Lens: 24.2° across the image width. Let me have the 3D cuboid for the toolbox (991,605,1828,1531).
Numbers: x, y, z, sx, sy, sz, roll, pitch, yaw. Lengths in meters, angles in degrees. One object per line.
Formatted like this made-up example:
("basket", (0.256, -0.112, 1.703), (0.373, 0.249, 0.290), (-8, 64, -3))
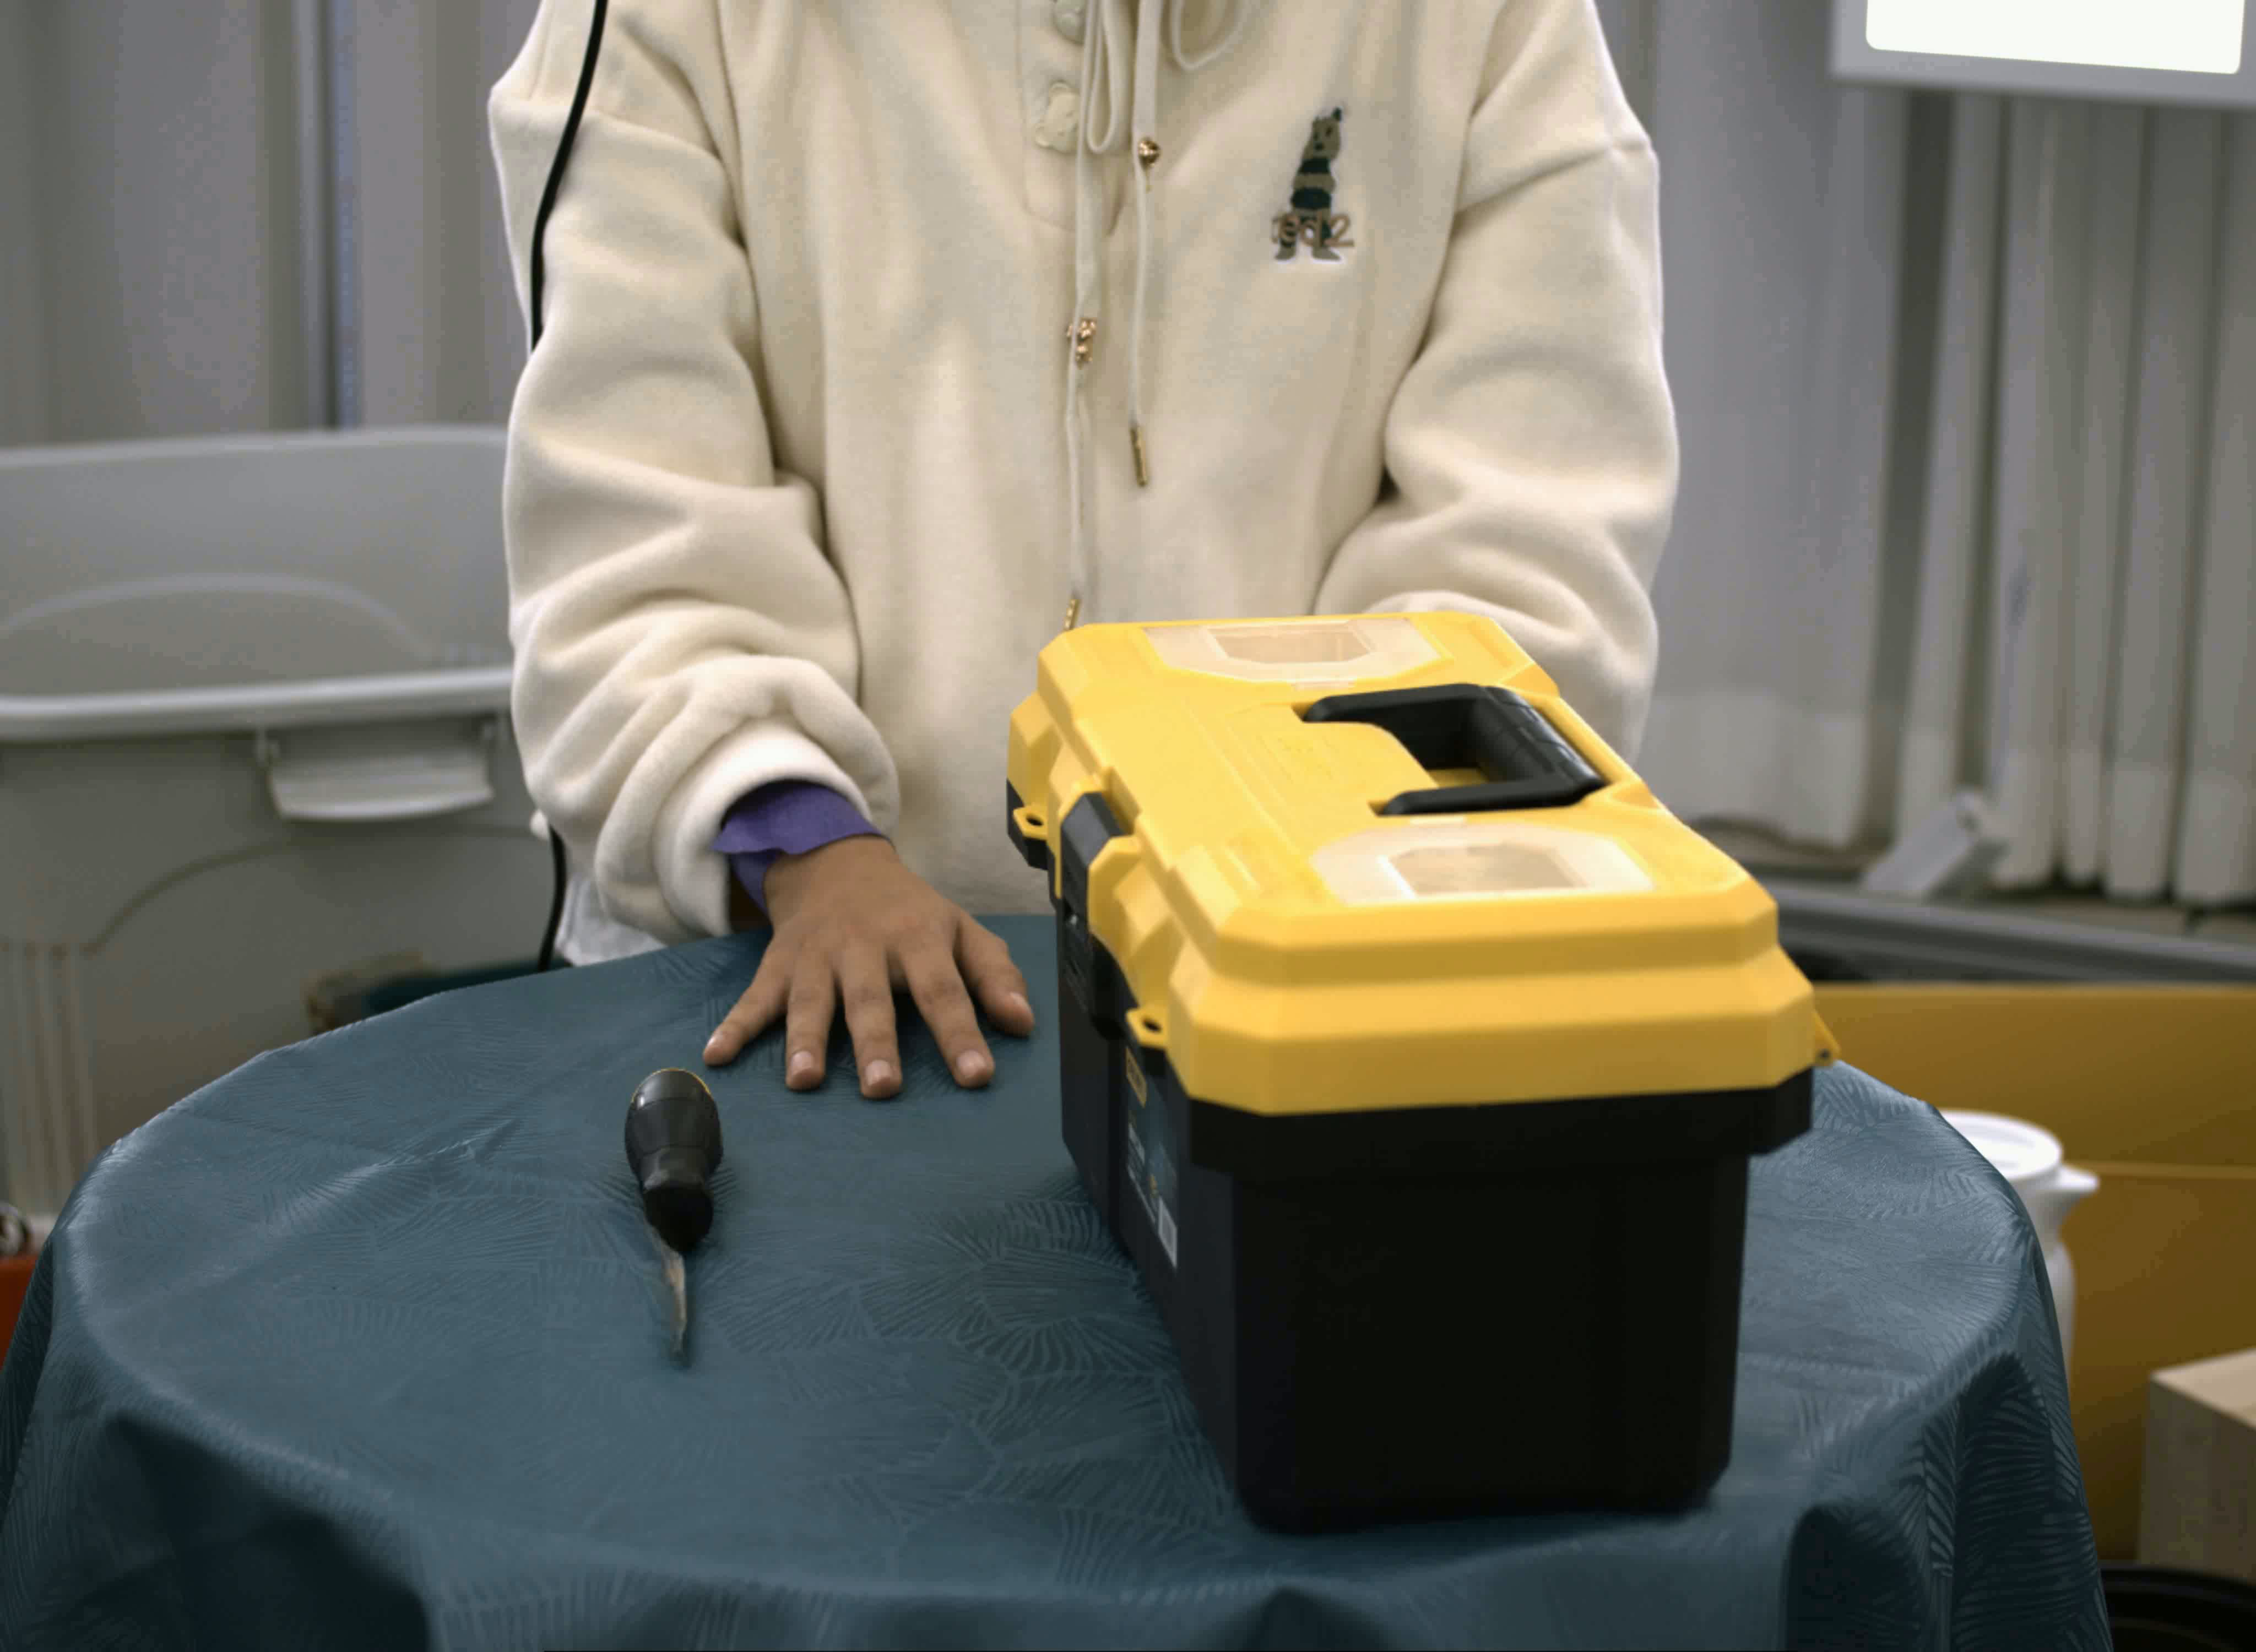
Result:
("toolbox", (0.070, 0.058, 1.492), (0.181, 0.174, 0.348), (-2, 16, -9))

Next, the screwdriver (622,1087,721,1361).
("screwdriver", (-0.136, 0.122, 1.562), (0.031, 0.032, 0.196), (0, 20, -4))
